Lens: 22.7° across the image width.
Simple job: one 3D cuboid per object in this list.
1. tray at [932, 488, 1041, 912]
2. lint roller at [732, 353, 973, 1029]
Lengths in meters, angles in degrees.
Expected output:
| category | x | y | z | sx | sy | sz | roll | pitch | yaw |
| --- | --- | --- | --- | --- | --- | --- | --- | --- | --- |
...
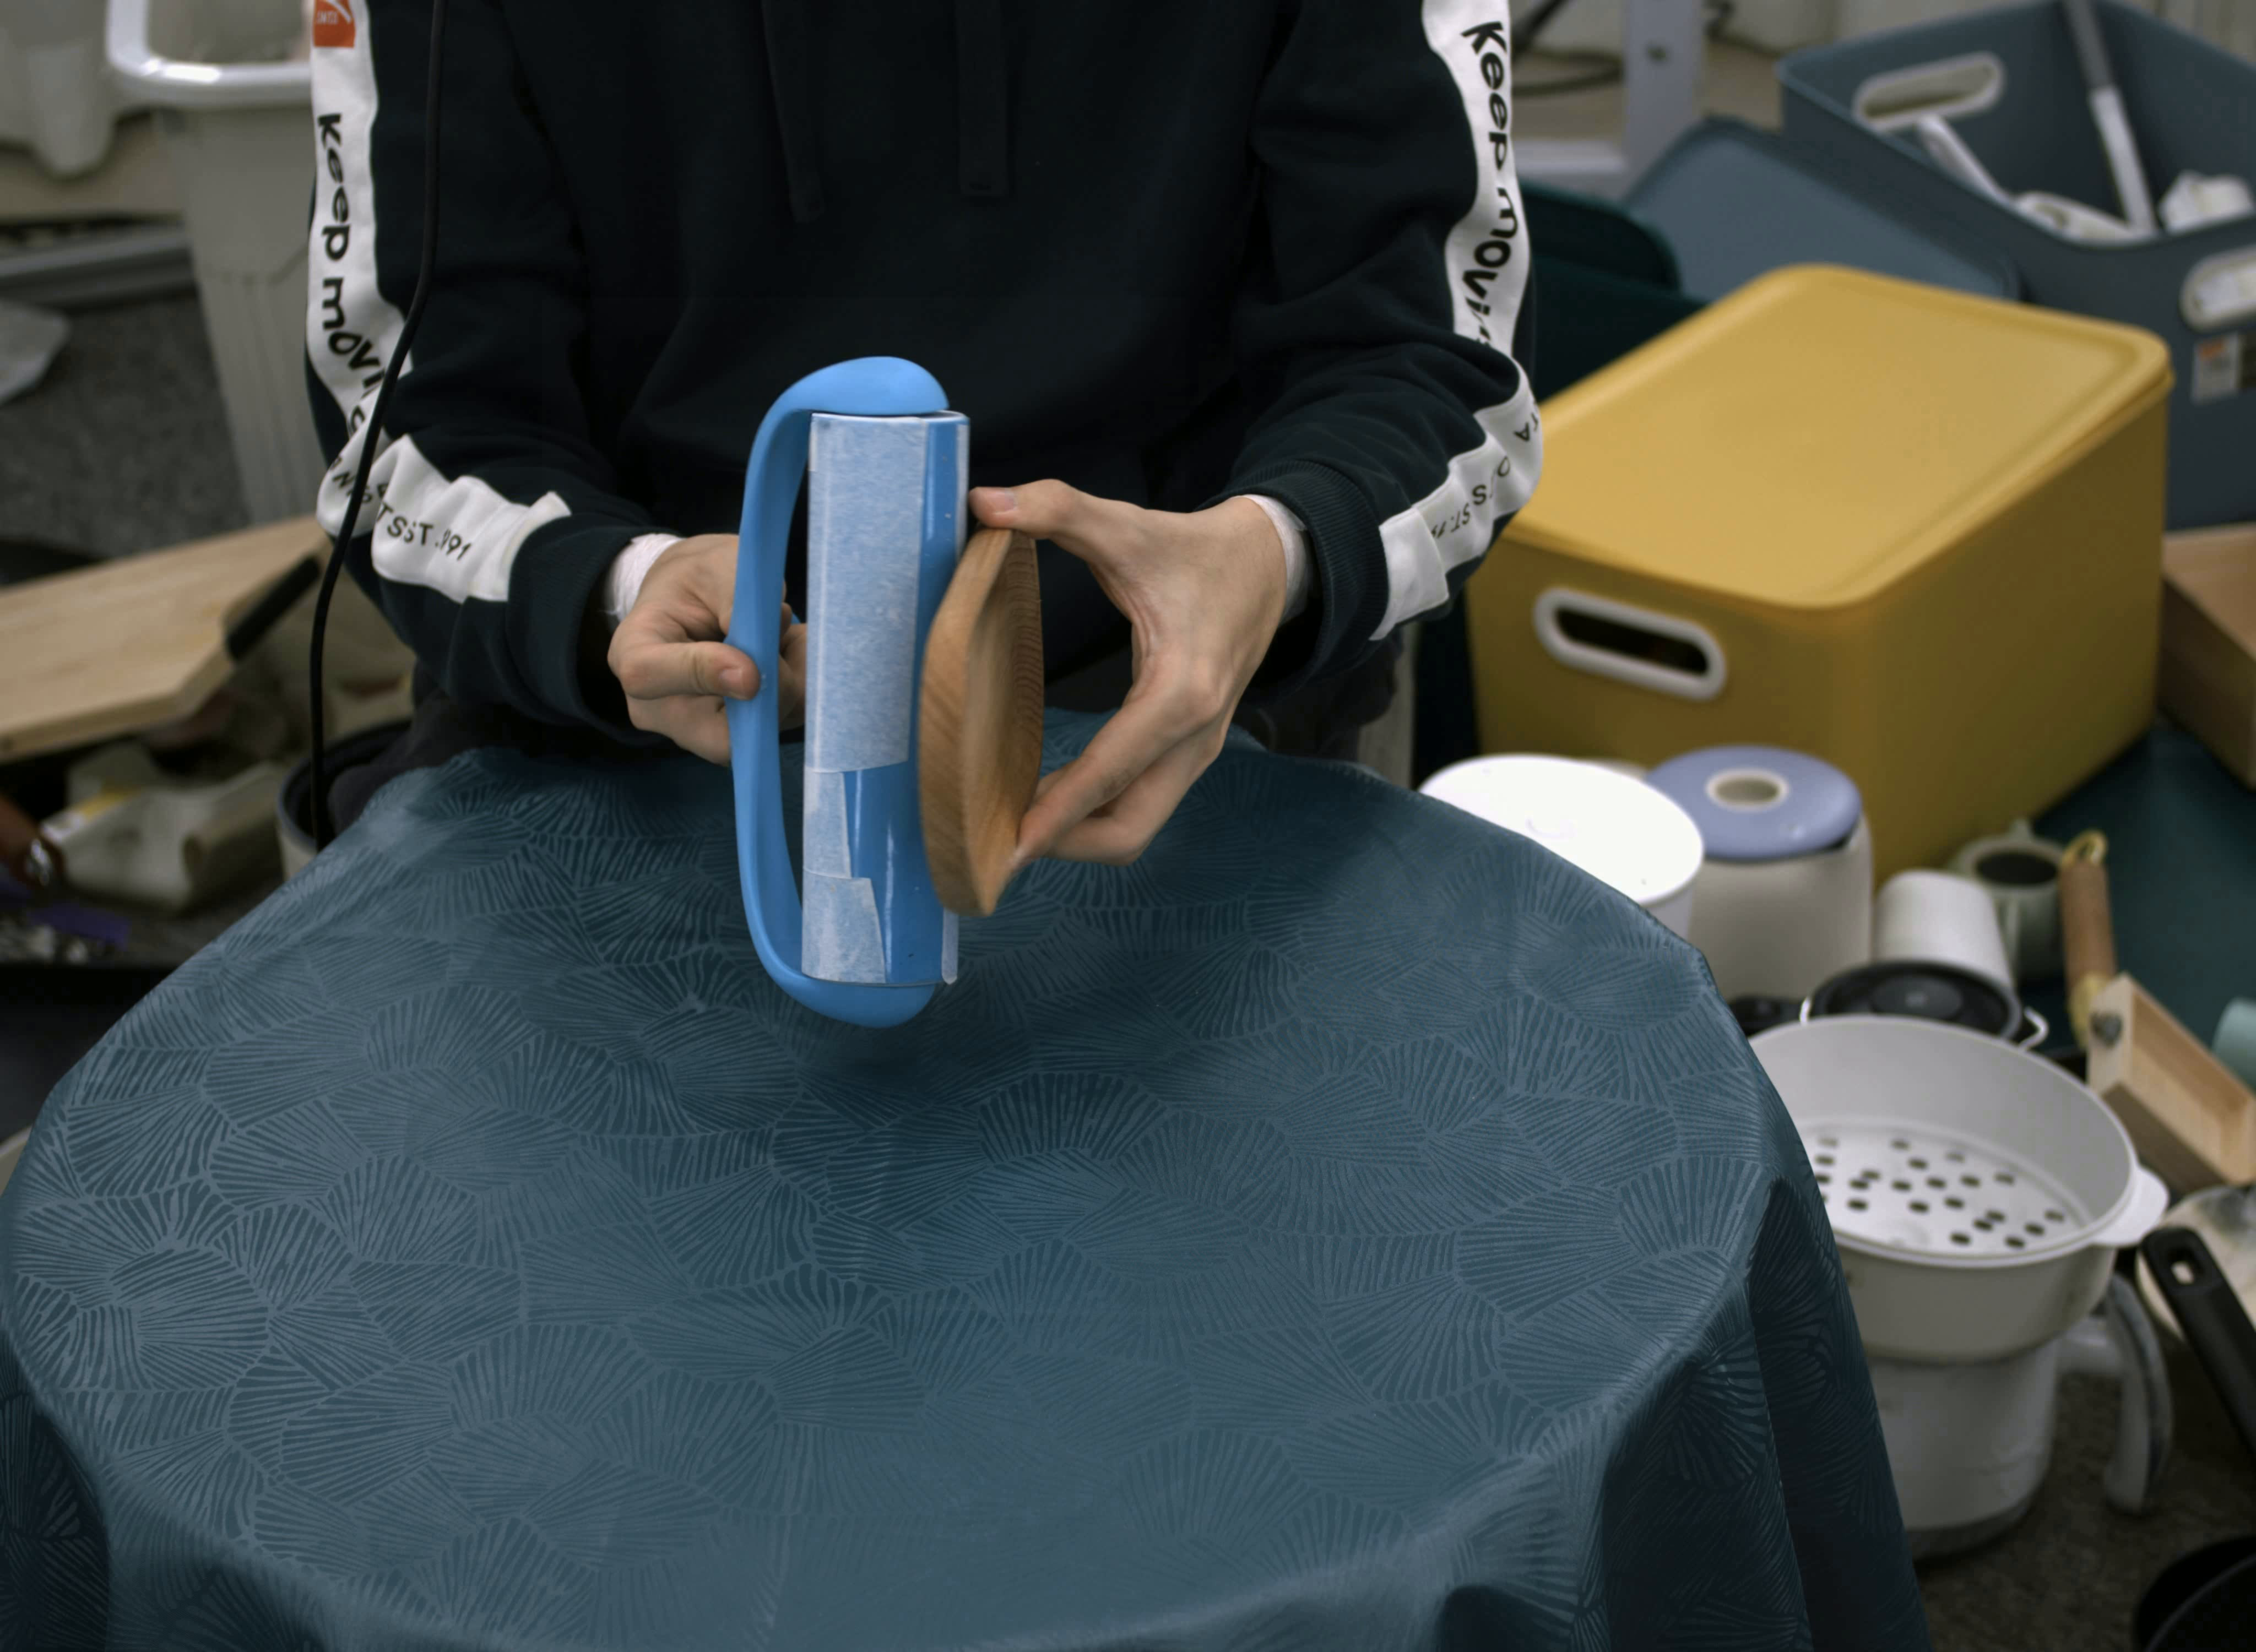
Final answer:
| category | x | y | z | sx | sy | sz | roll | pitch | yaw |
| --- | --- | --- | --- | --- | --- | --- | --- | --- | --- |
| tray | -0.046 | -0.044 | 1.873 | 0.020 | 0.101 | 0.234 | 0 | 18 | 3 |
| lint roller | -0.107 | -0.050 | 1.958 | 0.068 | 0.229 | 0.179 | -2 | 5 | -25 |
